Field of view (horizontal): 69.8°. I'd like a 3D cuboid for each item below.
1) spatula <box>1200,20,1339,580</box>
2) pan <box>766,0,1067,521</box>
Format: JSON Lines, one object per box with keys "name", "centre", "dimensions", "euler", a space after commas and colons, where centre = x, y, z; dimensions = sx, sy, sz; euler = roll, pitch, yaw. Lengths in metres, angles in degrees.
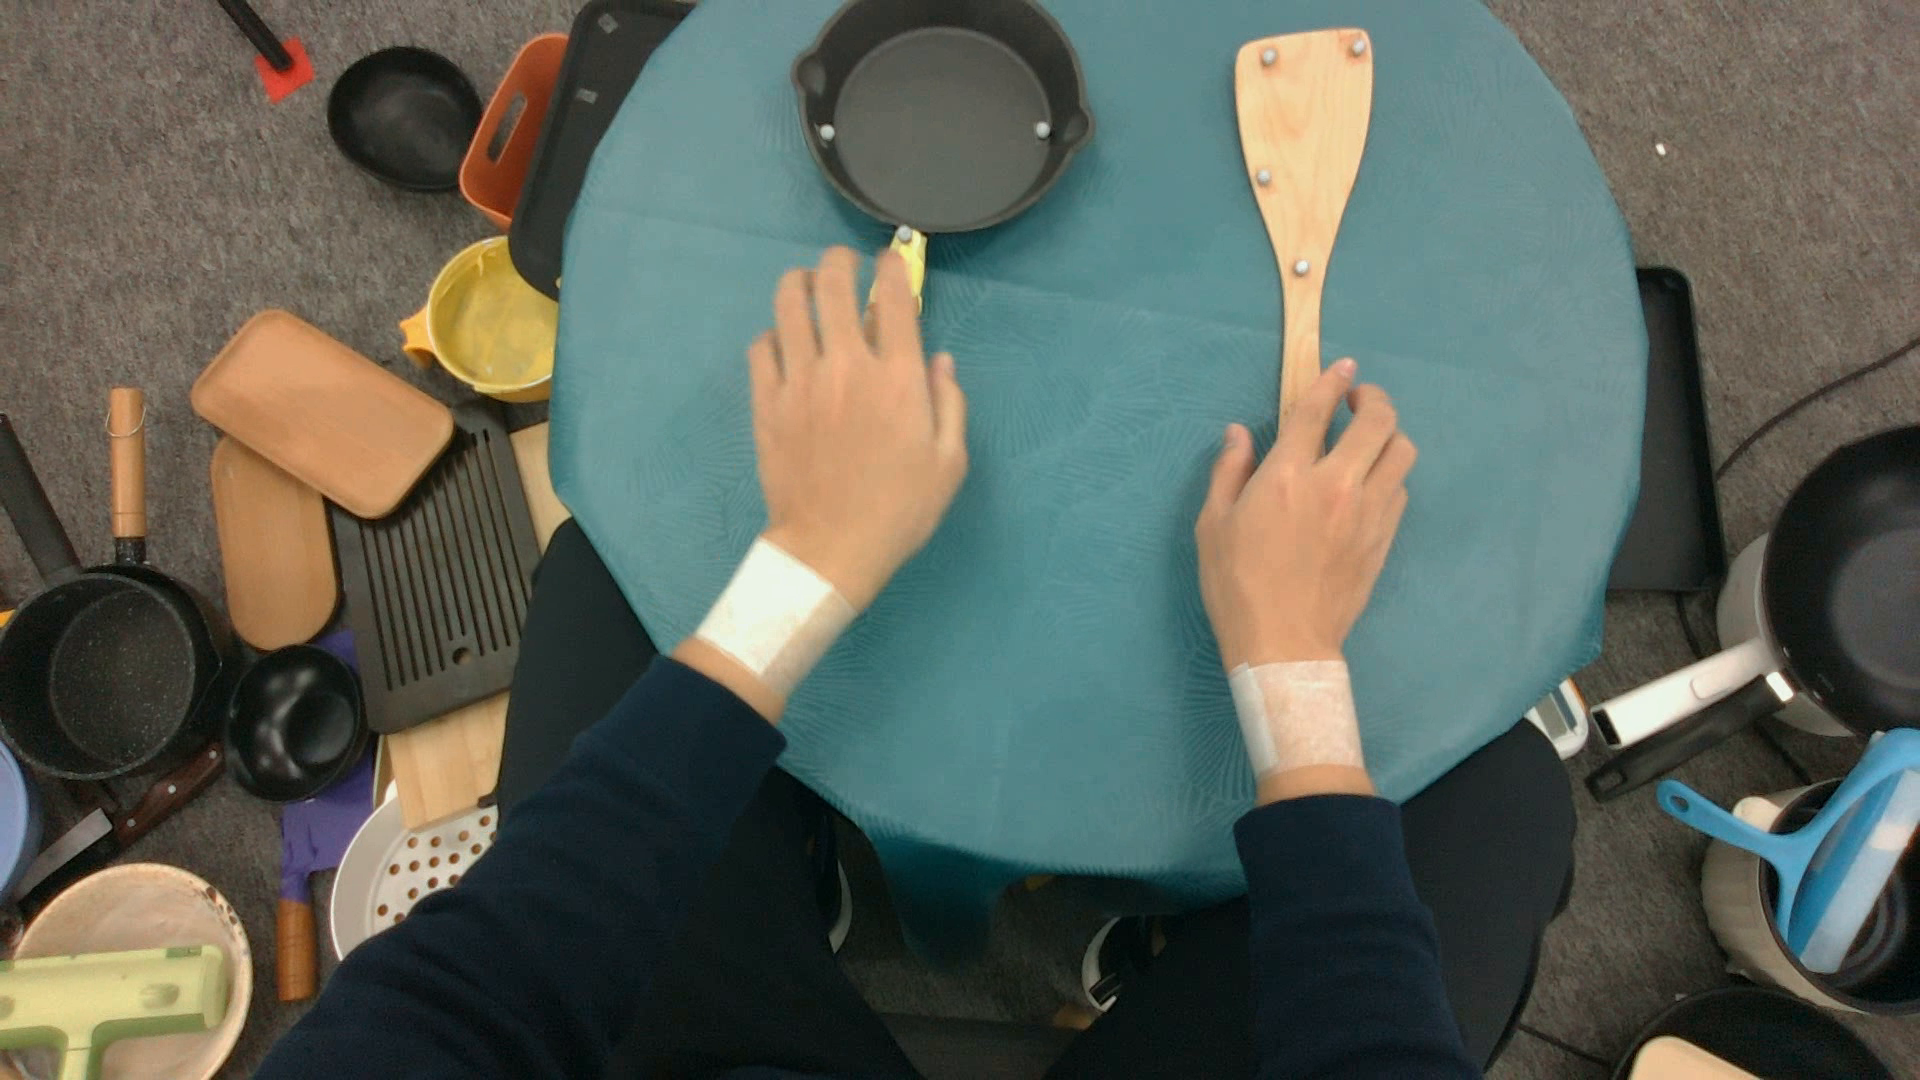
{"name": "spatula", "centre": [0.174, -0.139, 0.758], "dimensions": [0.080, 0.016, 0.328], "euler": [1, 76, 0]}
{"name": "pan", "centre": [-0.043, -0.161, 0.742], "dimensions": [0.169, 0.049, 0.325], "euler": [13, 74, 2]}
